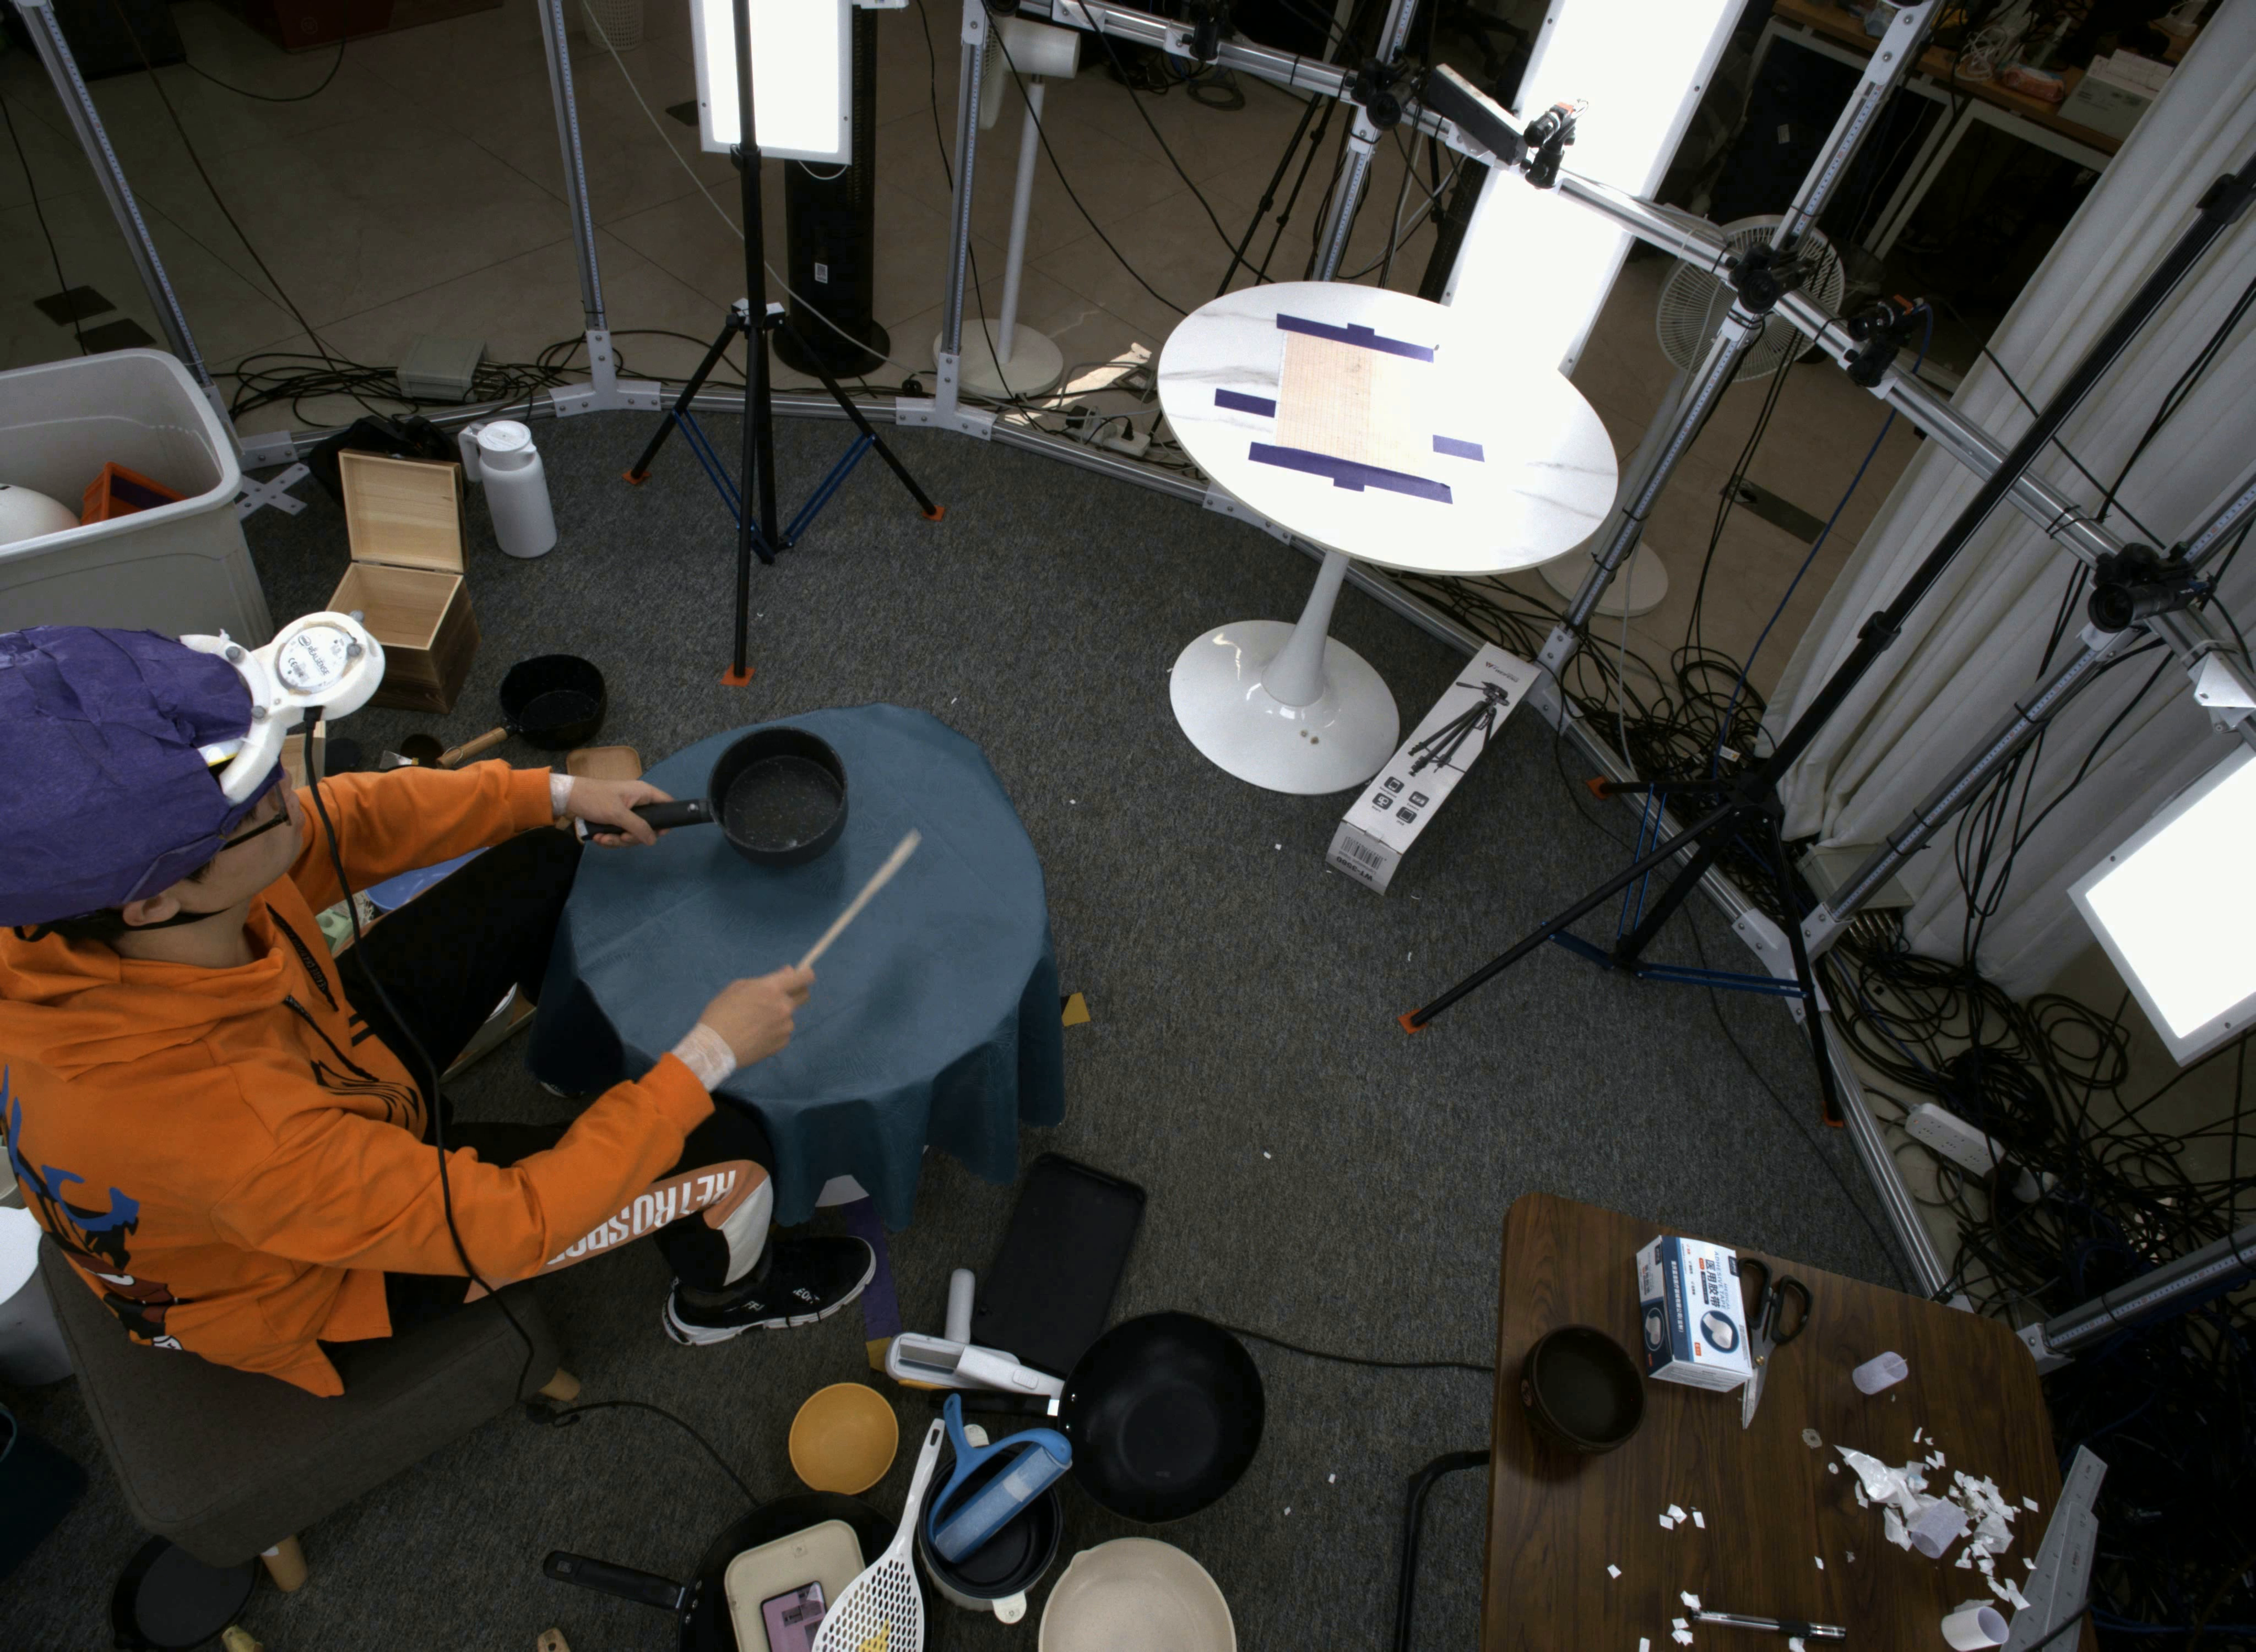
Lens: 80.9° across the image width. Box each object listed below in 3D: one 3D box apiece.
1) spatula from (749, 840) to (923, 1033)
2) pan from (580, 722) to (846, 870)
[{"bbox_3d":[-0.330,0.122,1.472,0.011,0.071,0.292,46,57,-12],"label":"spatula"},{"bbox_3d":[-0.513,-0.023,1.600,0.329,0.087,0.170,-9,69,-15],"label":"pan"}]
